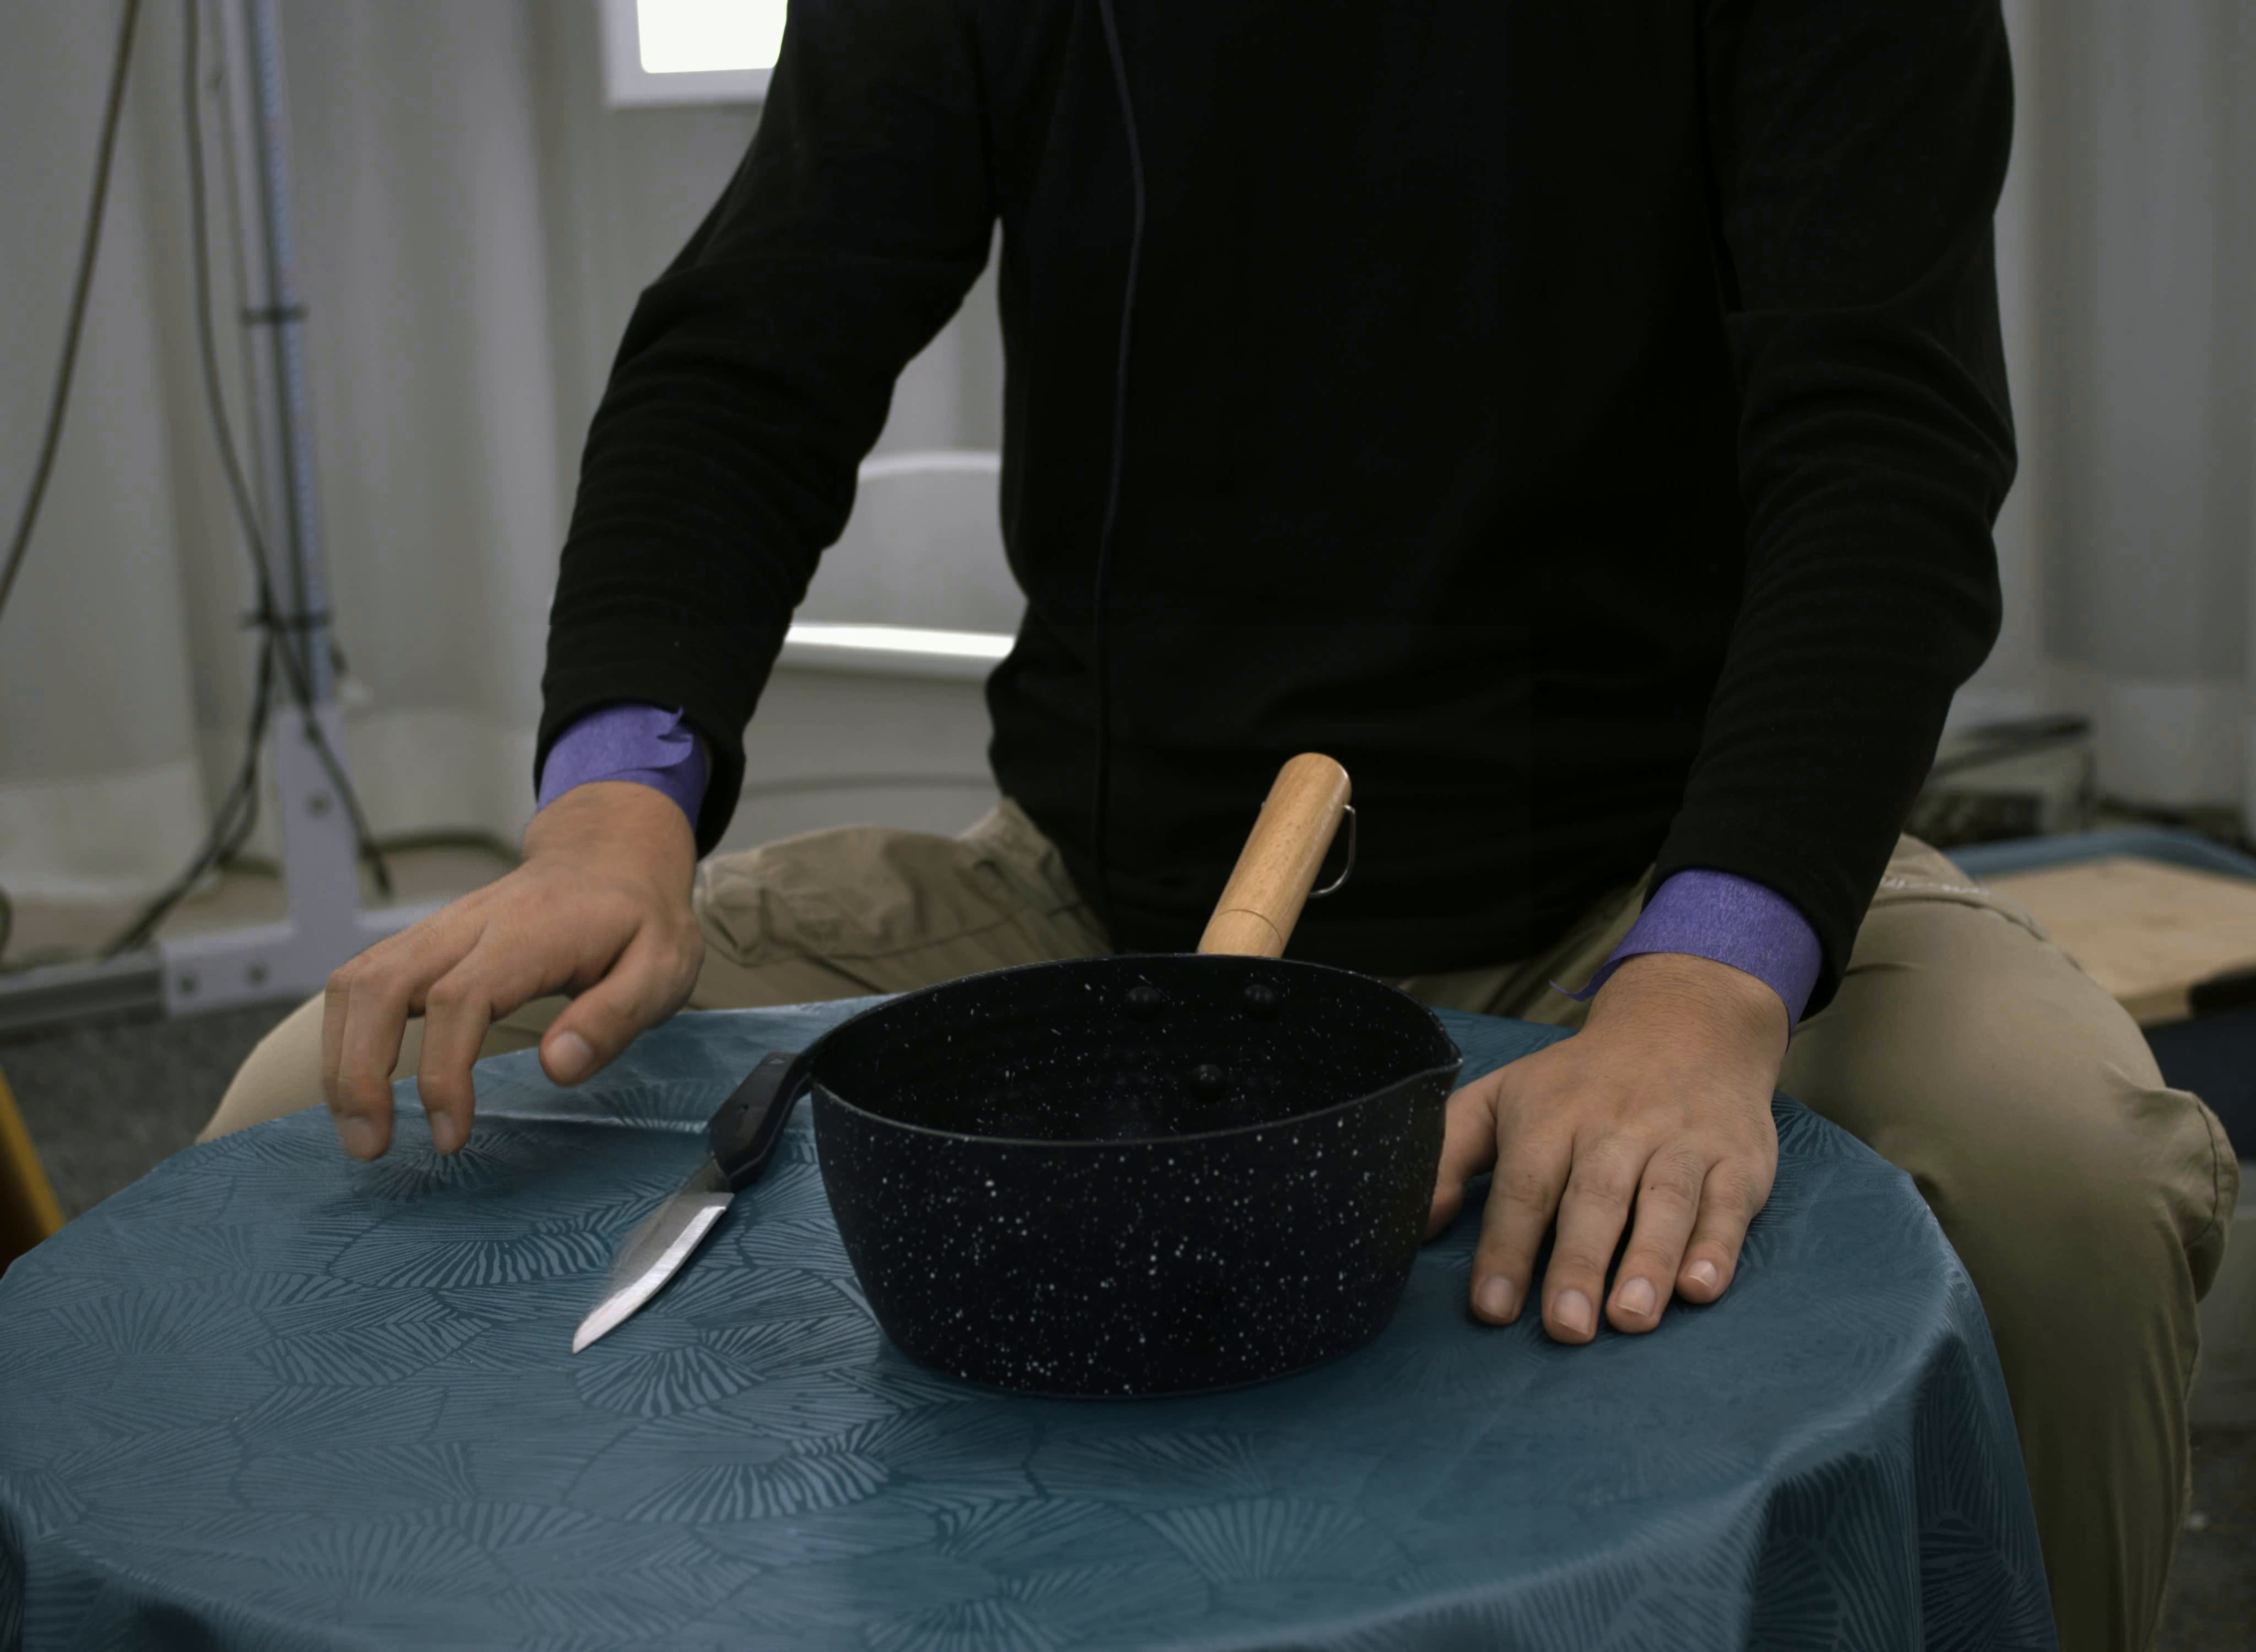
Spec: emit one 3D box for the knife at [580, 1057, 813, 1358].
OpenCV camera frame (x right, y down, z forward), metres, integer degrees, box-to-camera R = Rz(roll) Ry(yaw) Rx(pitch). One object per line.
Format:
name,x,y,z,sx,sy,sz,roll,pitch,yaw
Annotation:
knife,-0.136,0.118,1.706,0.024,0.016,0.239,2,18,12

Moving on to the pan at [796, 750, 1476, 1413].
pan,0.020,0.072,1.666,0.207,0.108,0.344,1,16,15
